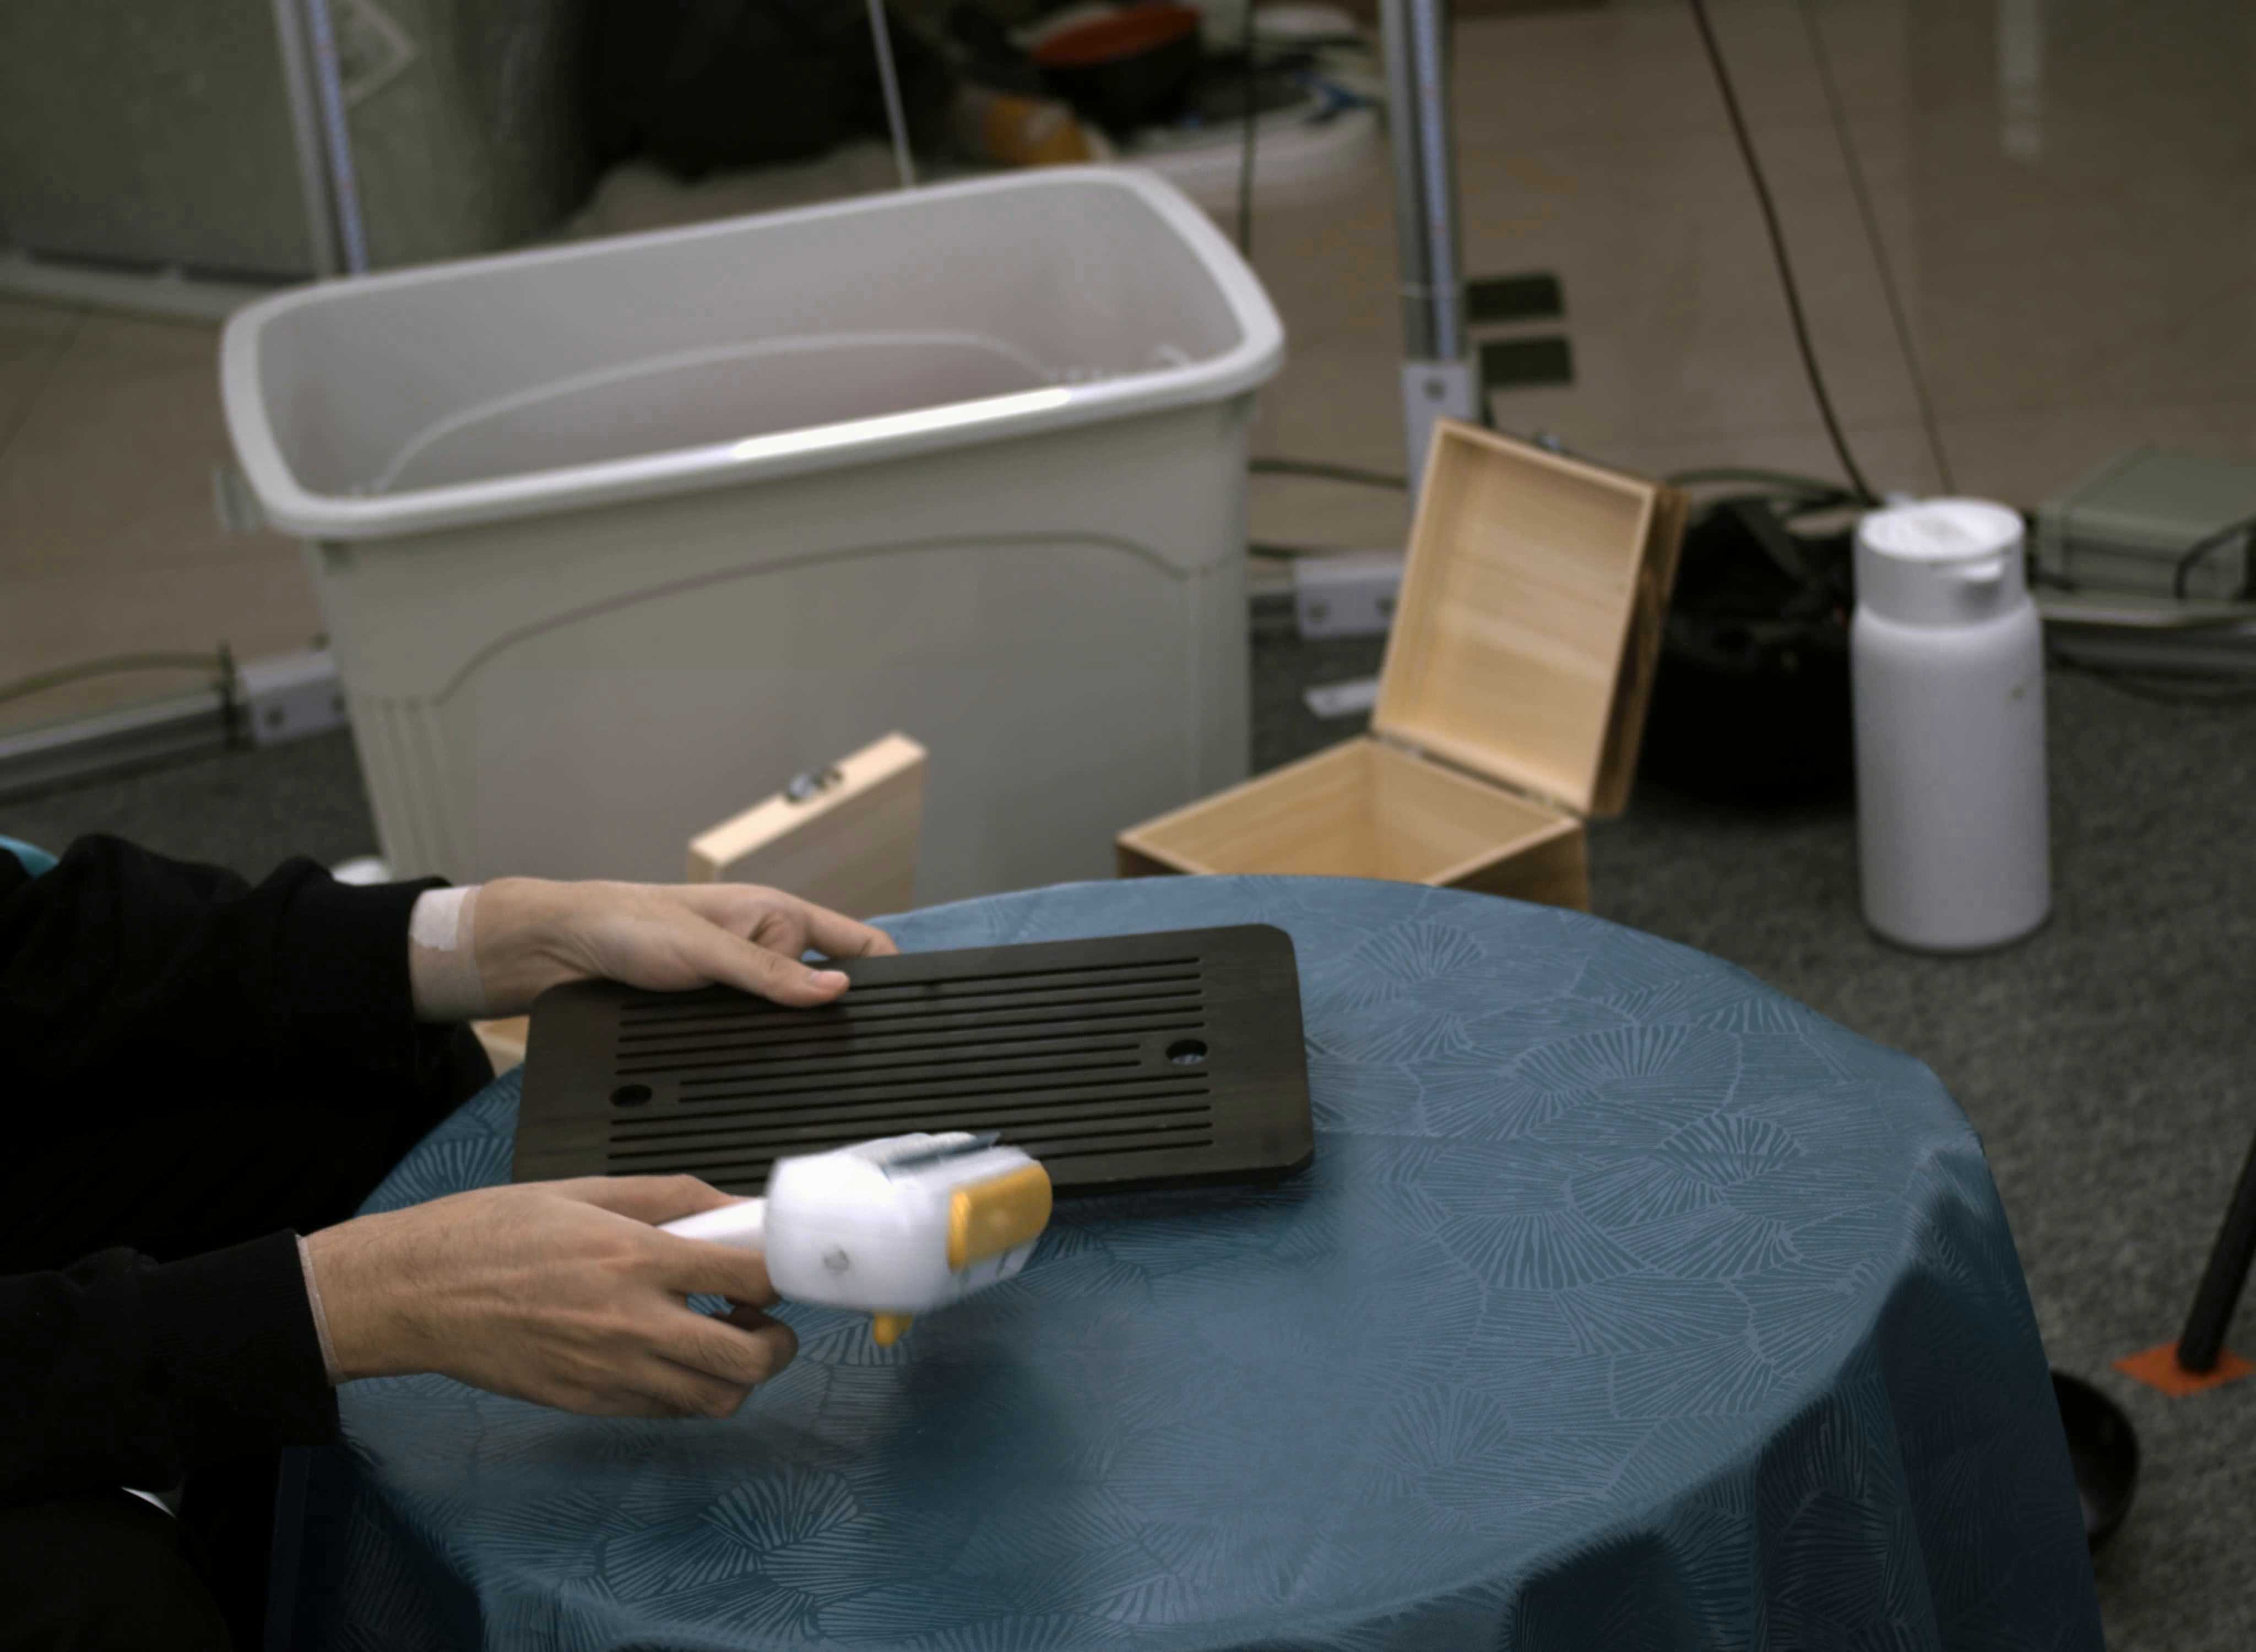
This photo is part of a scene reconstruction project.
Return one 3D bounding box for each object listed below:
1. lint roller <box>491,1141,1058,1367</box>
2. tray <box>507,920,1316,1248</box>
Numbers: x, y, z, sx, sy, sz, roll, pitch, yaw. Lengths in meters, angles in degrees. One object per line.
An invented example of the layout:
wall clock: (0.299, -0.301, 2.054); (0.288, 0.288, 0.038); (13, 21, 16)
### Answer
lint roller: (-0.134, 0.151, 1.999); (0.192, 0.074, 0.192); (-1, 7, 14)
tray: (-0.084, 0.100, 2.187); (0.305, 0.019, 0.167); (-5, 33, 1)
